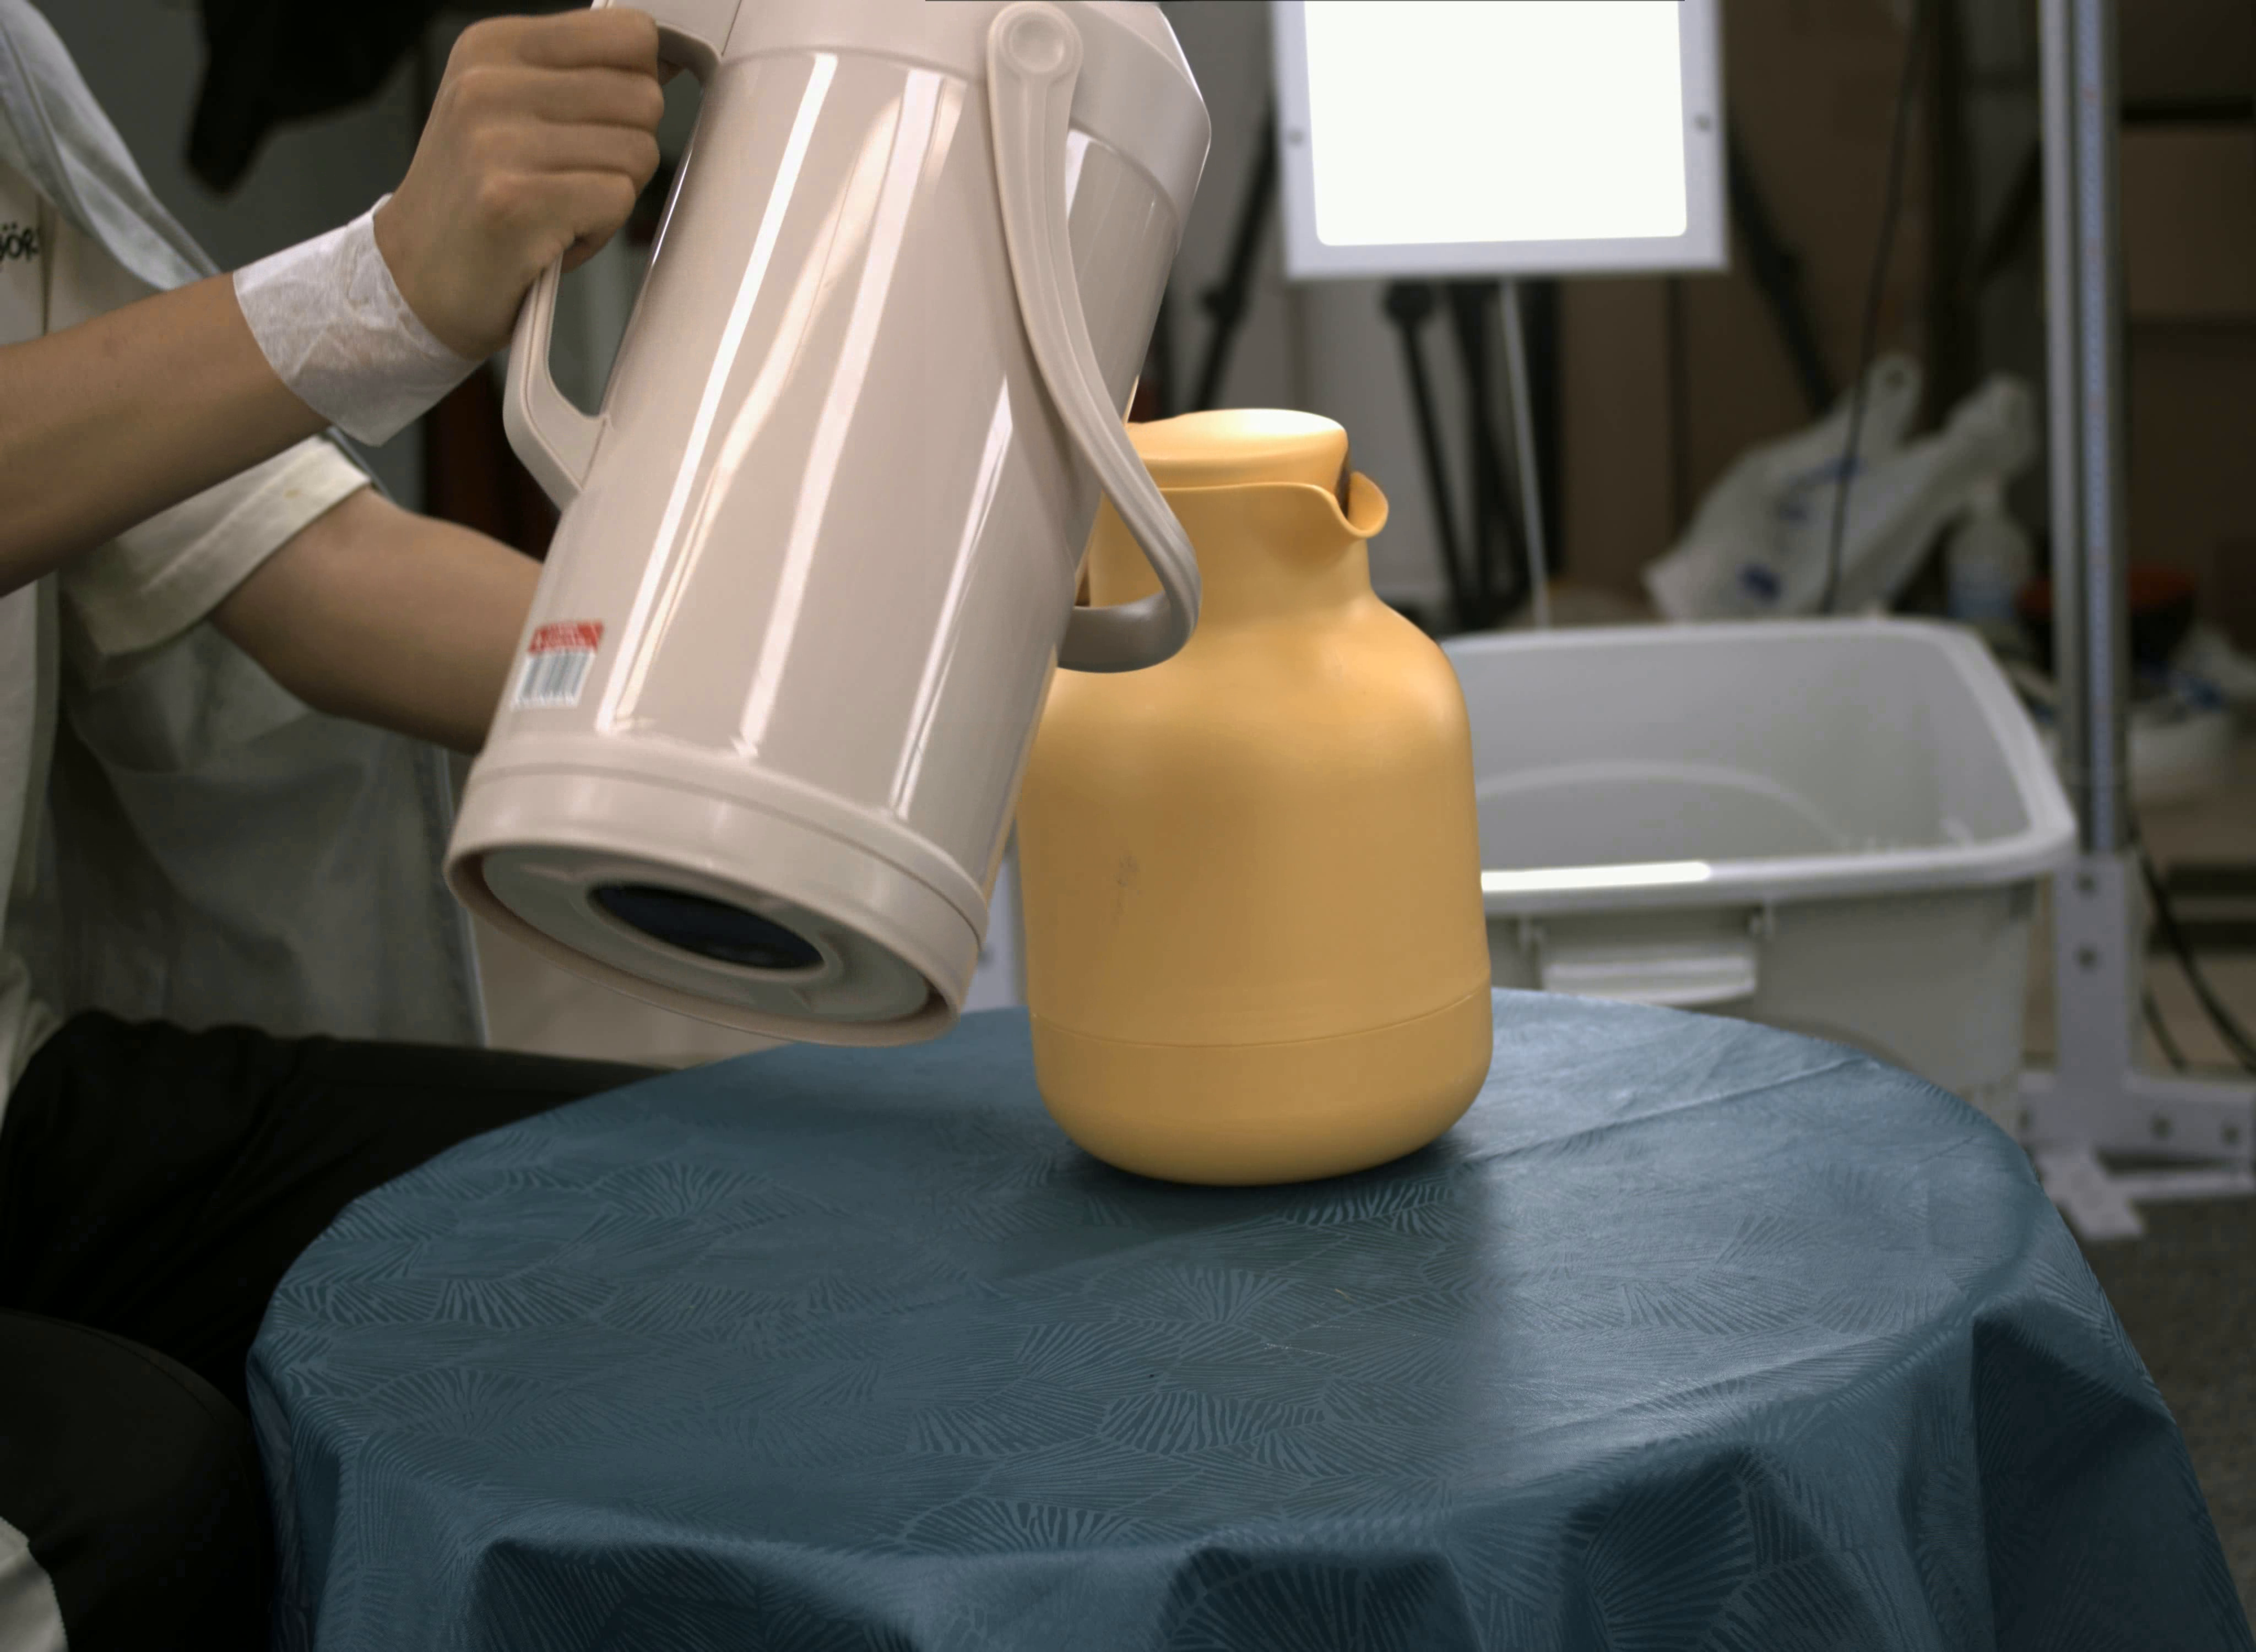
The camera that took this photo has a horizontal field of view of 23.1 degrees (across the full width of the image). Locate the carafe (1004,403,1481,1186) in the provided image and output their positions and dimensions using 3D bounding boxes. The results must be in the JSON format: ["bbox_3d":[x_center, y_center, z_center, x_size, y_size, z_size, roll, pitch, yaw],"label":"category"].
[{"bbox_3d":[0.028,-0.018,1.926,0.159,0.261,0.206,-12,16,-36],"label":"carafe"}]

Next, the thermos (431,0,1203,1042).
[{"bbox_3d":[-0.090,-0.152,1.678,0.205,0.404,0.178,21,-18,-12],"label":"thermos"}]
